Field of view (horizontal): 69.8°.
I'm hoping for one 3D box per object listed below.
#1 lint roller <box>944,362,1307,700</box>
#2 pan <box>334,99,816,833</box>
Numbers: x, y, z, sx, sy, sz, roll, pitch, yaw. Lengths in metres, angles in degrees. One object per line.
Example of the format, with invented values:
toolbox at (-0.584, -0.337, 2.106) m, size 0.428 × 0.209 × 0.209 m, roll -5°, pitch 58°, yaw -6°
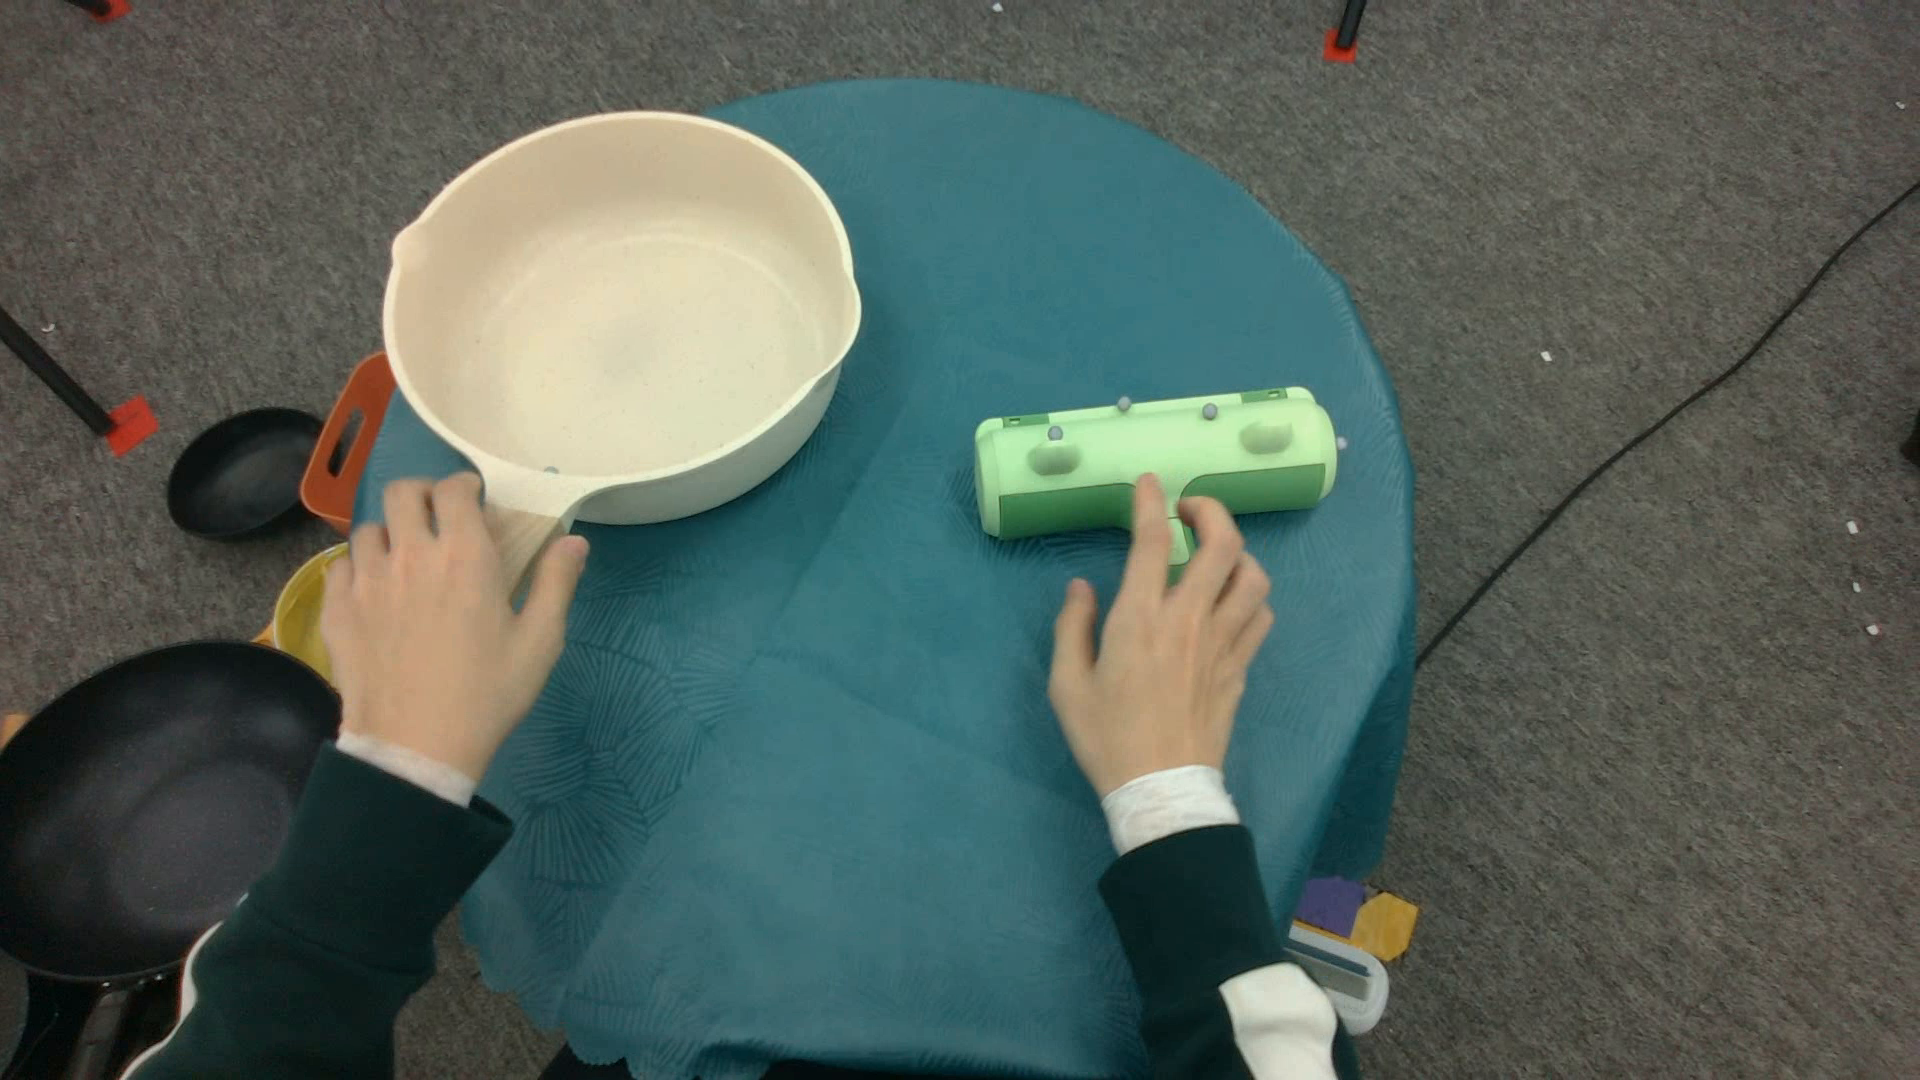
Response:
lint roller at (0.099, -0.012, 0.729) m, size 0.199 × 0.082 × 0.184 m, roll -7°, pitch 57°, yaw -5°
pan at (-0.225, -0.048, 0.731) m, size 0.263 × 0.101 × 0.436 m, roll 10°, pitch 63°, yaw 3°
